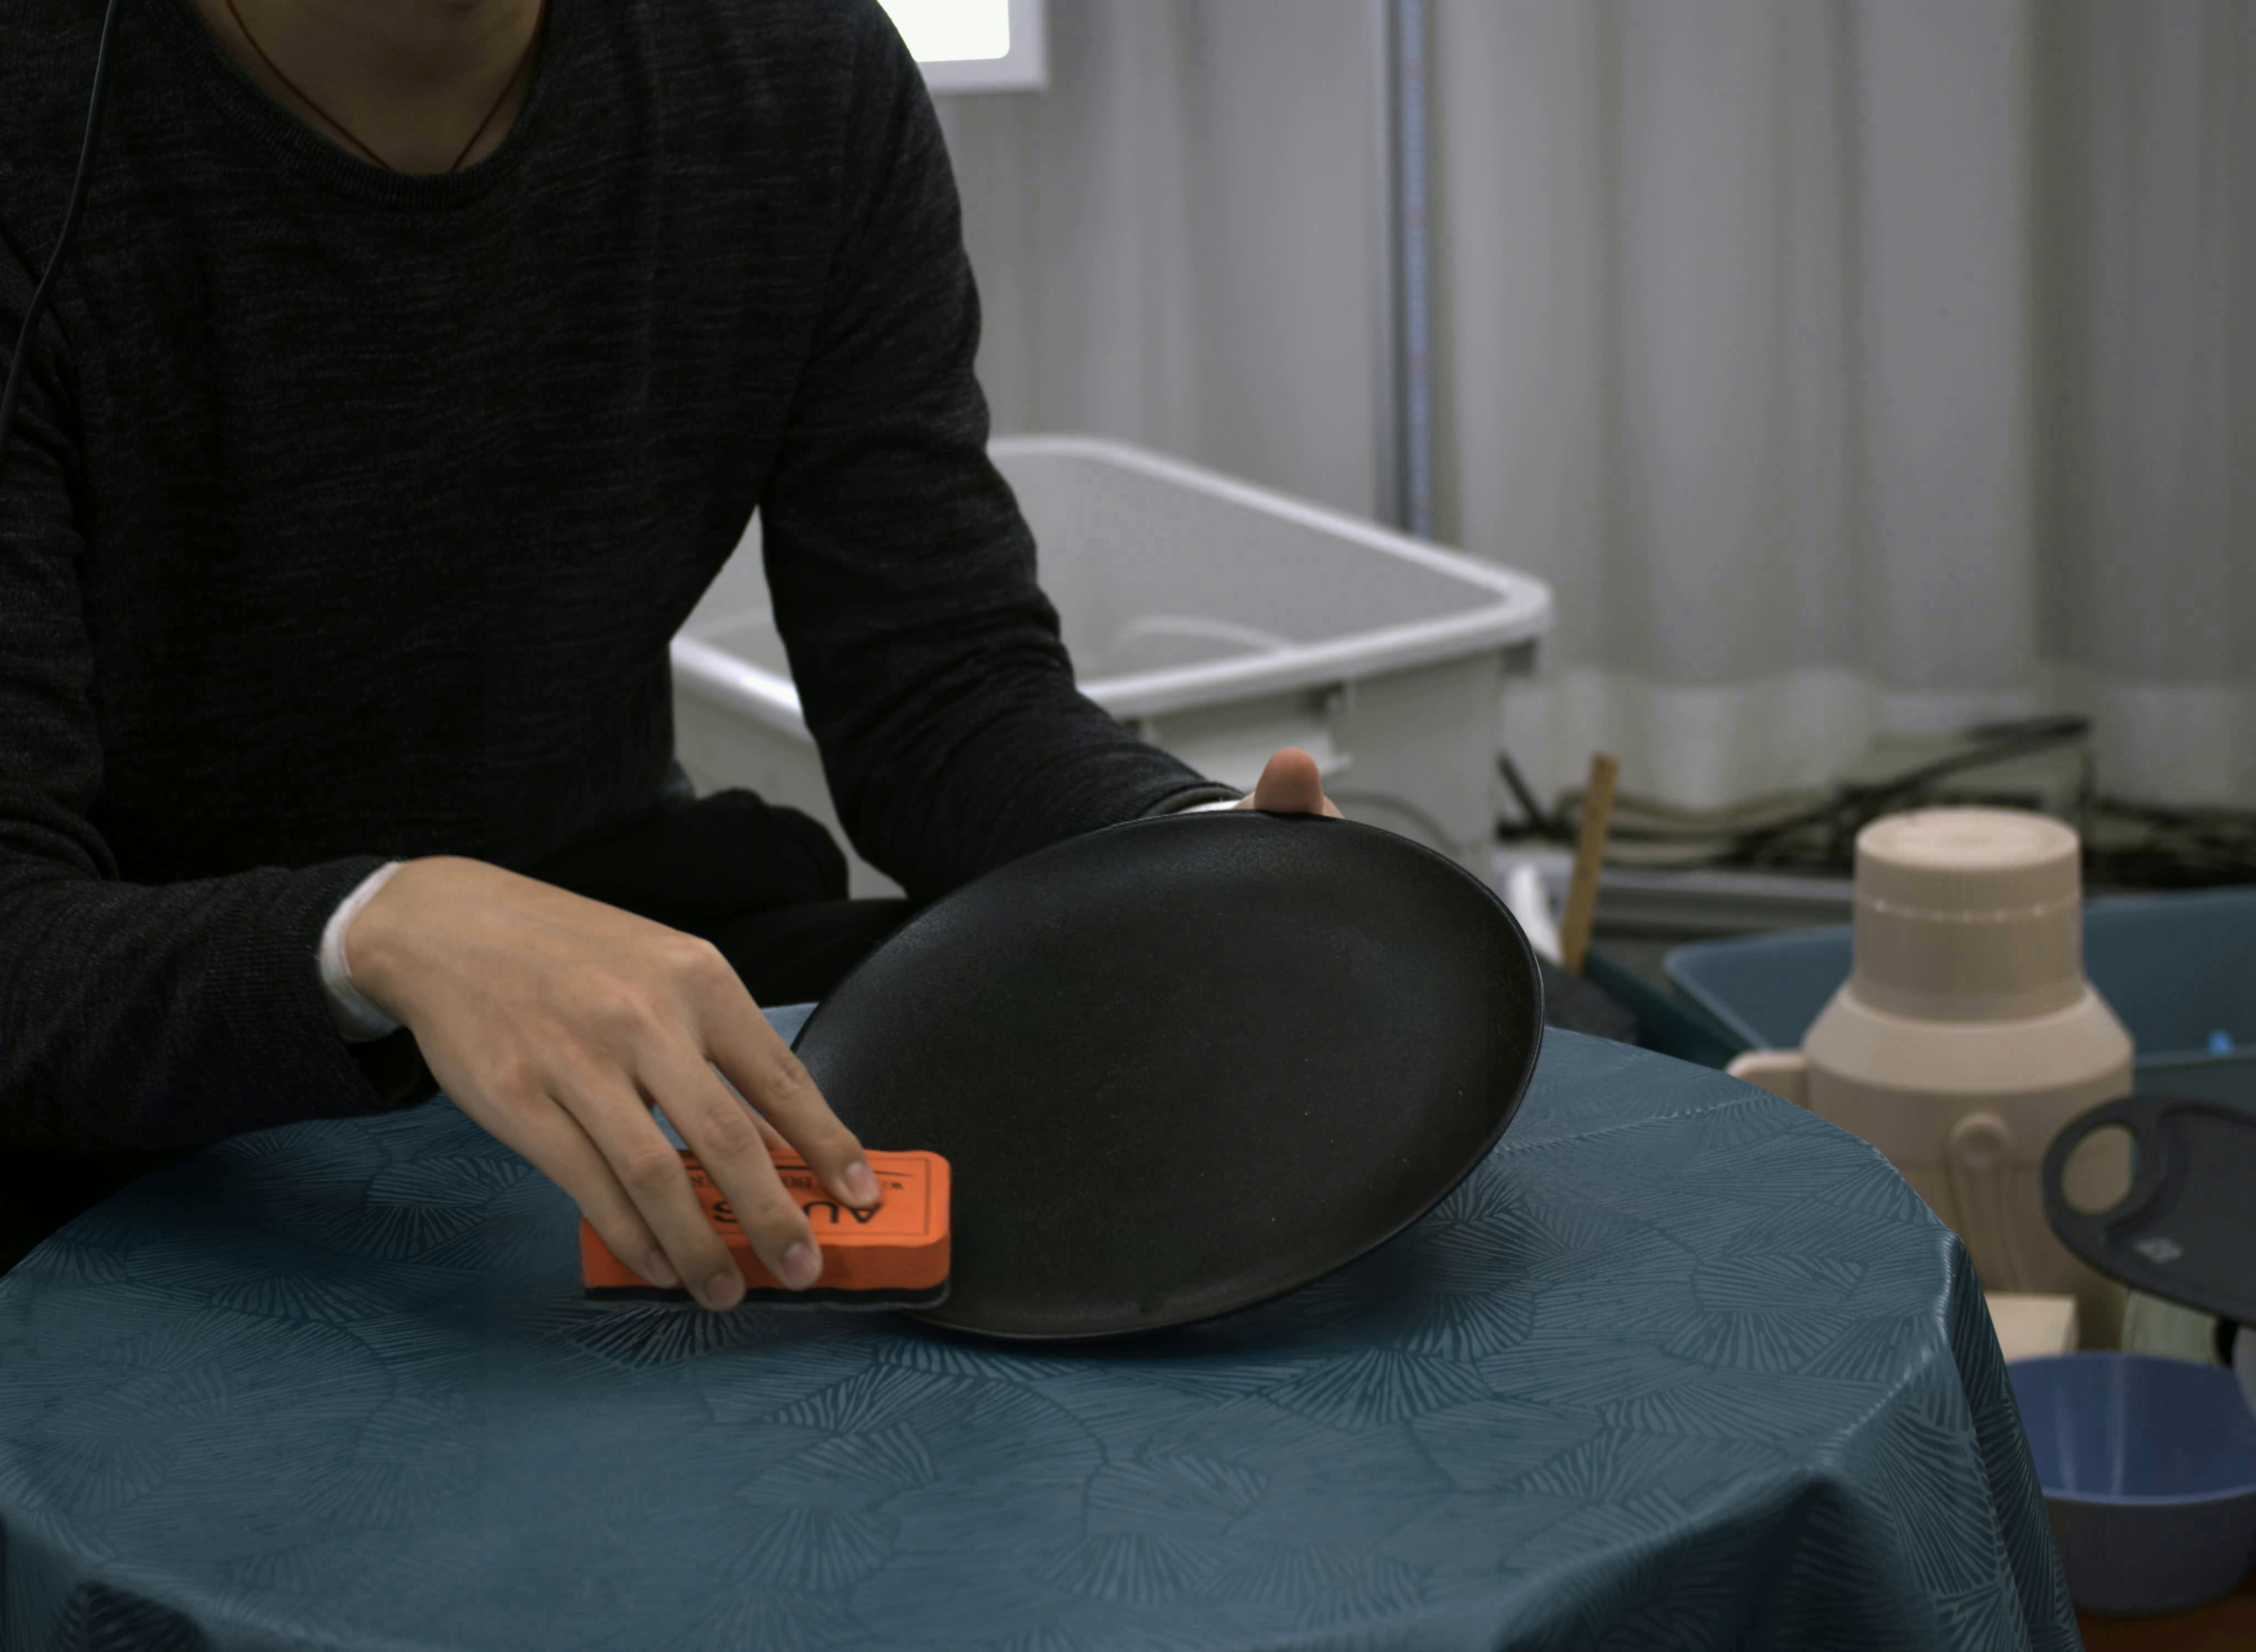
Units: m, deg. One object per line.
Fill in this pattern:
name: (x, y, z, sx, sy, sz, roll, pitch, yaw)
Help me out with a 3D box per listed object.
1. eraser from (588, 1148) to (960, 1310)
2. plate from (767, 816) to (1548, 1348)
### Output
eraser: (-0.104, 0.119, 1.613, 0.107, 0.023, 0.059, 1, 24, 1)
plate: (0.010, 0.080, 1.666, 0.244, 0.023, 0.248, -11, 36, 7)
